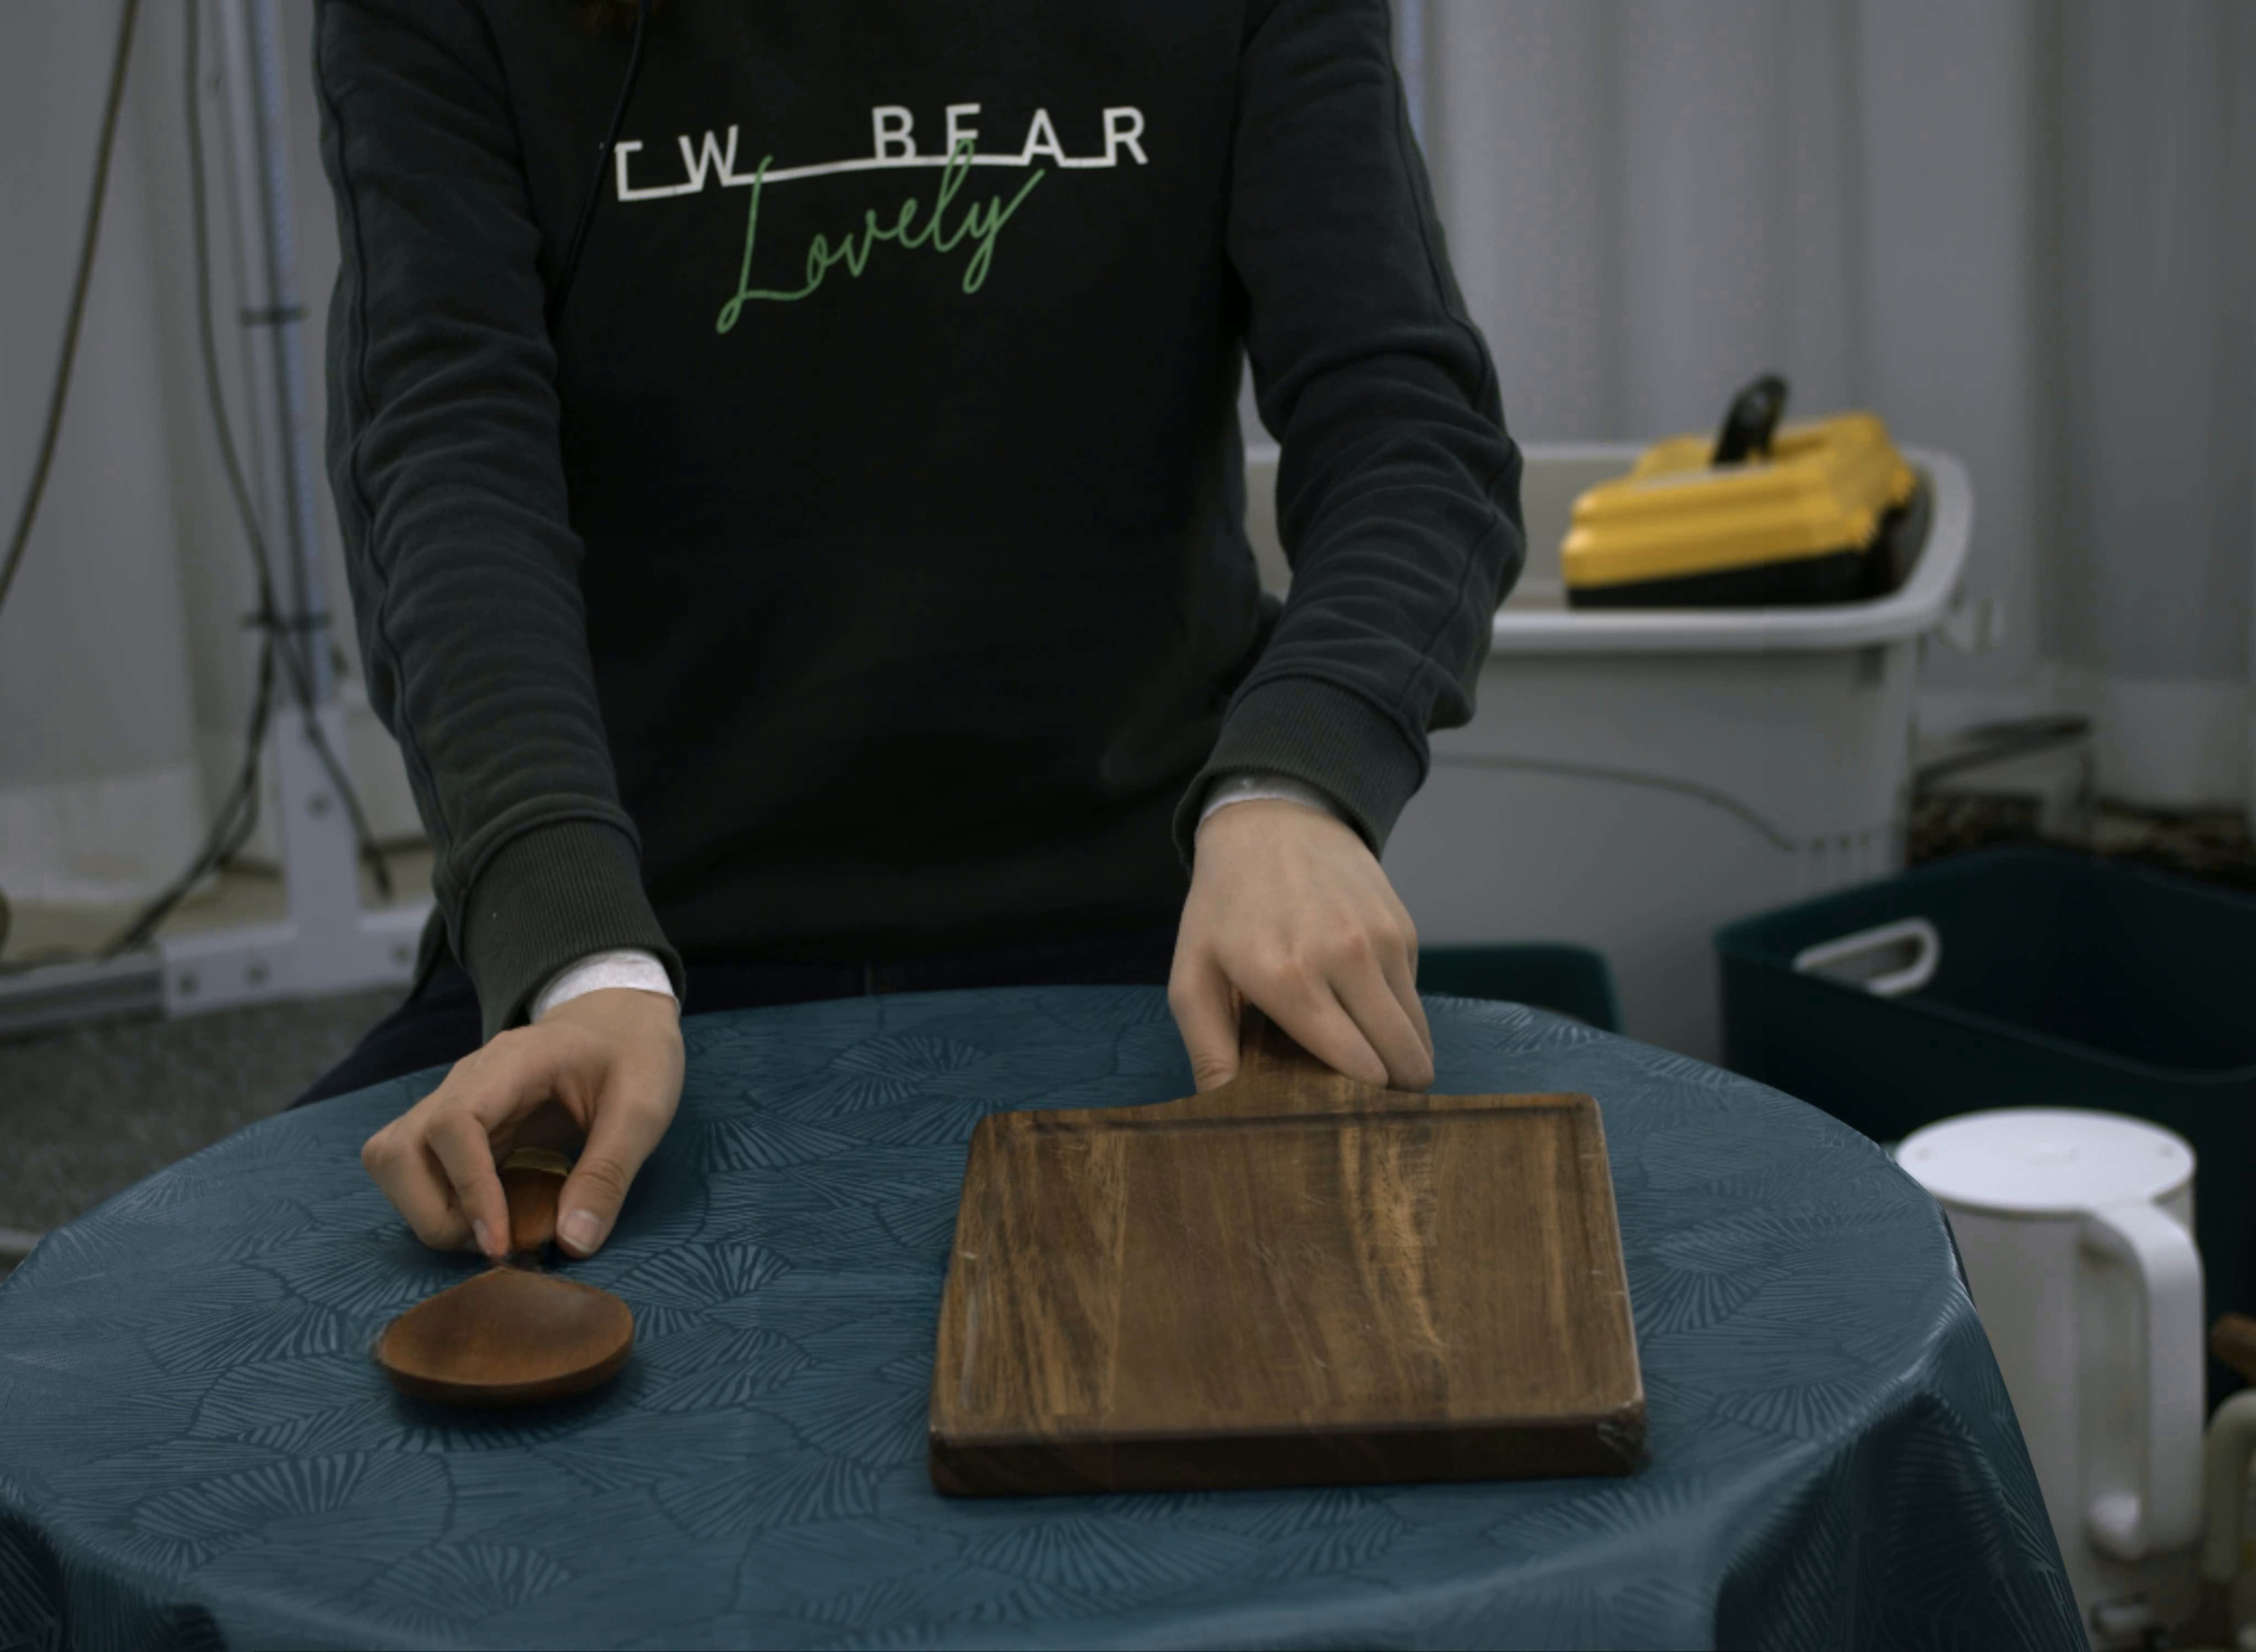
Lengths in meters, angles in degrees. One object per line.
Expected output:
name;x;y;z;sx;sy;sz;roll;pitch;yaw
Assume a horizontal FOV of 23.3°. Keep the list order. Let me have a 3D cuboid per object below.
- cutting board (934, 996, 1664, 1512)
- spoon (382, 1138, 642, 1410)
cutting board;0.048;0.118;1.630;0.200;0.023;0.355;-3;17;3
spoon;-0.180;0.135;1.637;0.075;0.017;0.217;-5;16;-2
